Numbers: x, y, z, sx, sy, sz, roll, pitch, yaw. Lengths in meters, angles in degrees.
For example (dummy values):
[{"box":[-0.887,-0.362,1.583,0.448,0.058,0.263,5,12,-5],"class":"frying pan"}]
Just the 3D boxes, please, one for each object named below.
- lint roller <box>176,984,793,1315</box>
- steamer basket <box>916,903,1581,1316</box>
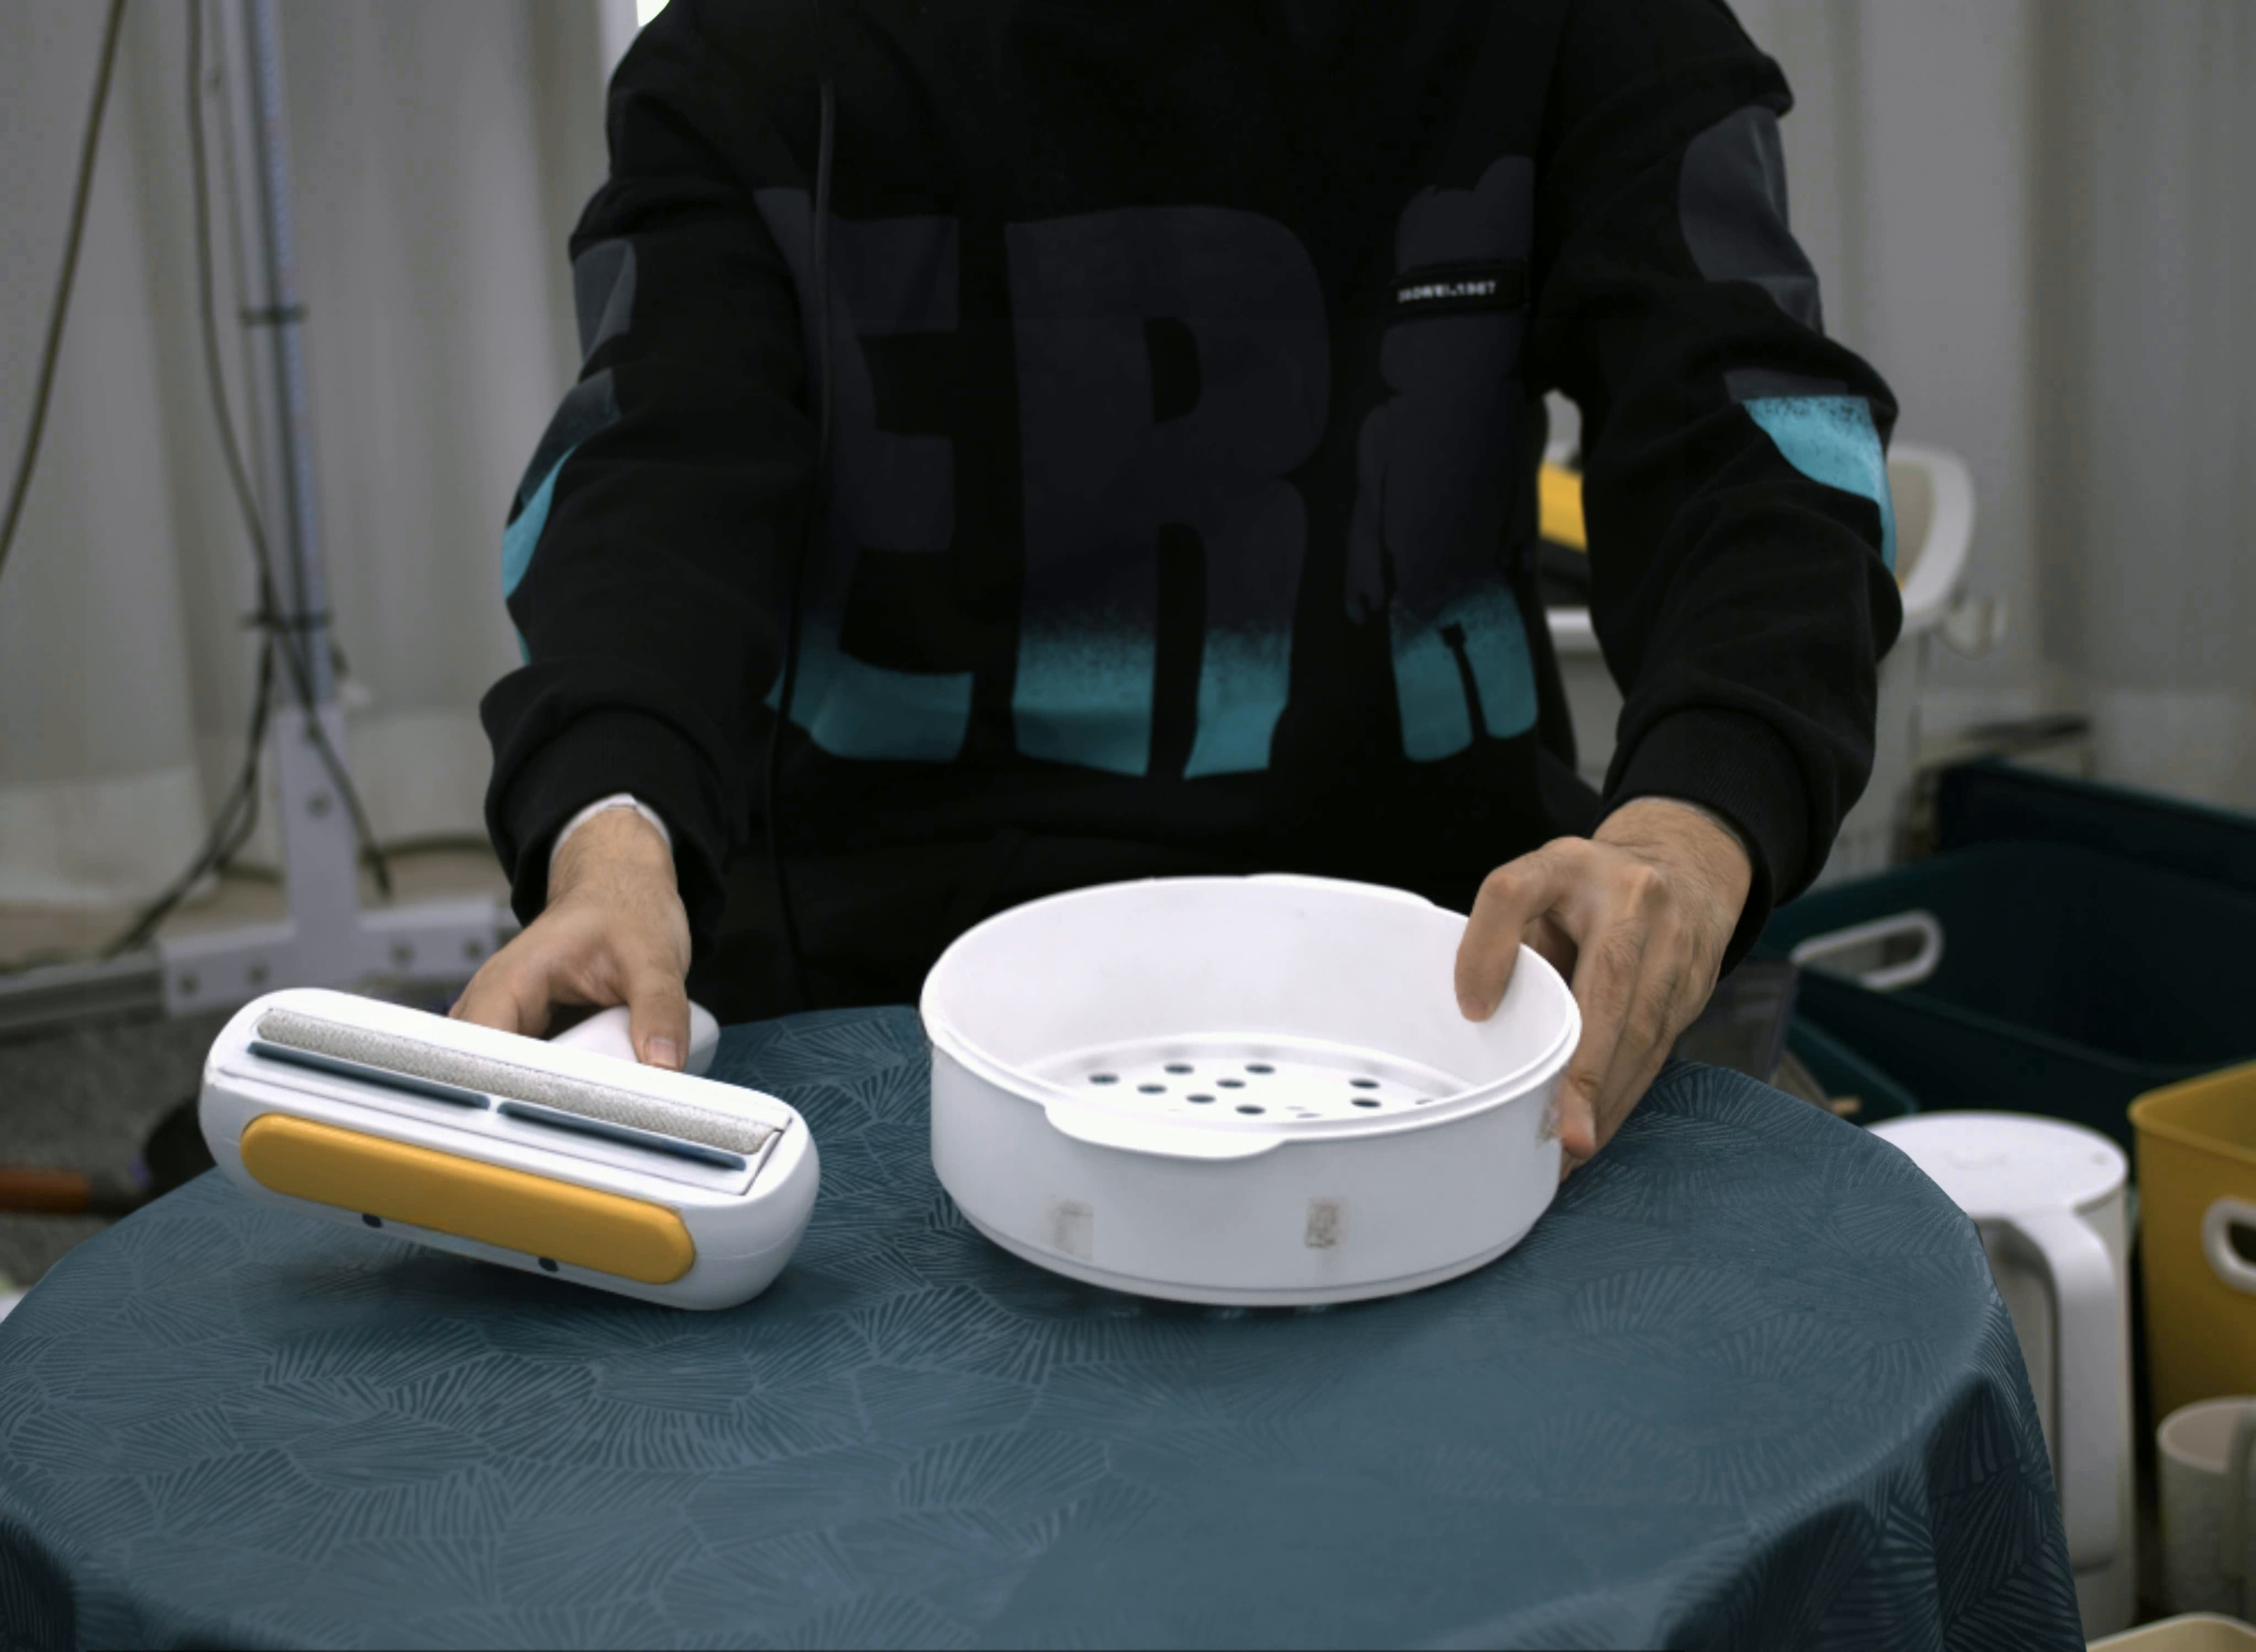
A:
[{"box":[-0.175,0.082,1.707,0.193,0.073,0.193,9,24,18],"class":"lint roller"},{"box":[0.035,0.086,1.665,0.202,0.069,0.231,8,18,15],"class":"steamer basket"}]
